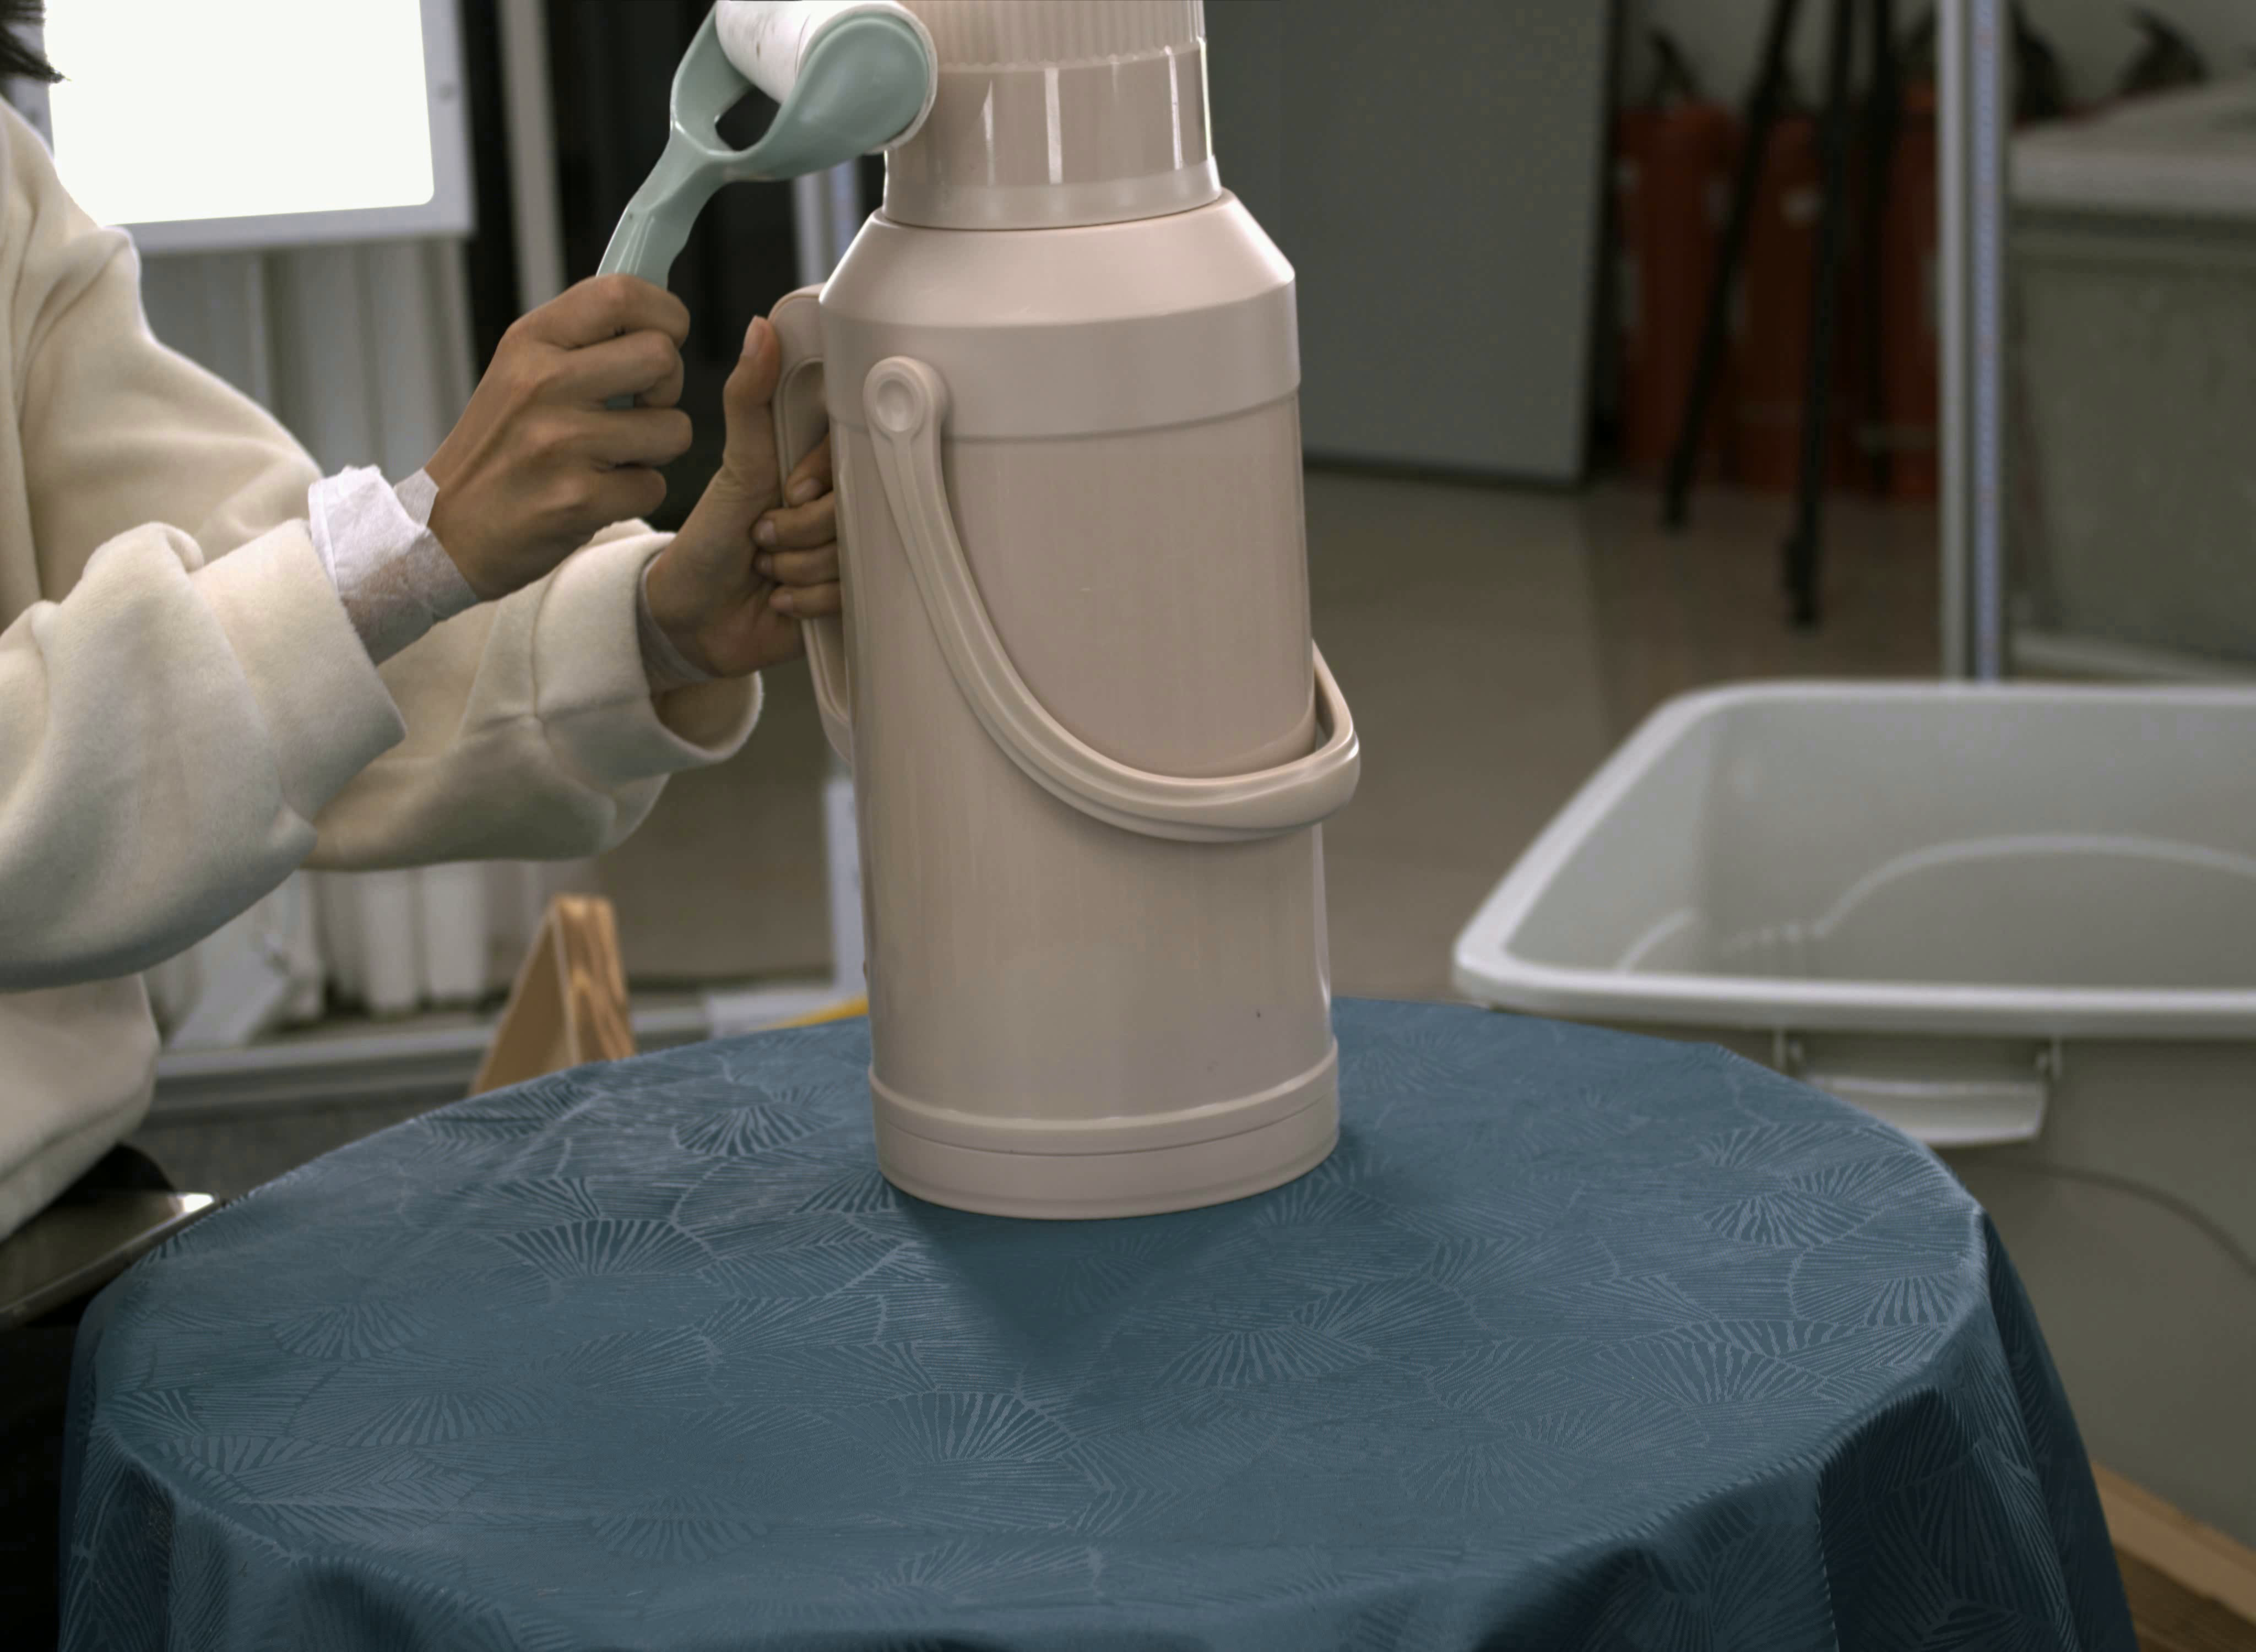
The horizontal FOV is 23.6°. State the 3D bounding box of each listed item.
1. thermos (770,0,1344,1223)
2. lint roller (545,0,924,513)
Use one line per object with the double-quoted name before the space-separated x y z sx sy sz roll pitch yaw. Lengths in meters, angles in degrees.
"thermos" -0.028 -0.085 1.781 0.208 0.411 0.172 6 16 37
"lint roller" -0.141 -0.192 1.719 0.048 0.199 0.118 30 7 -27
